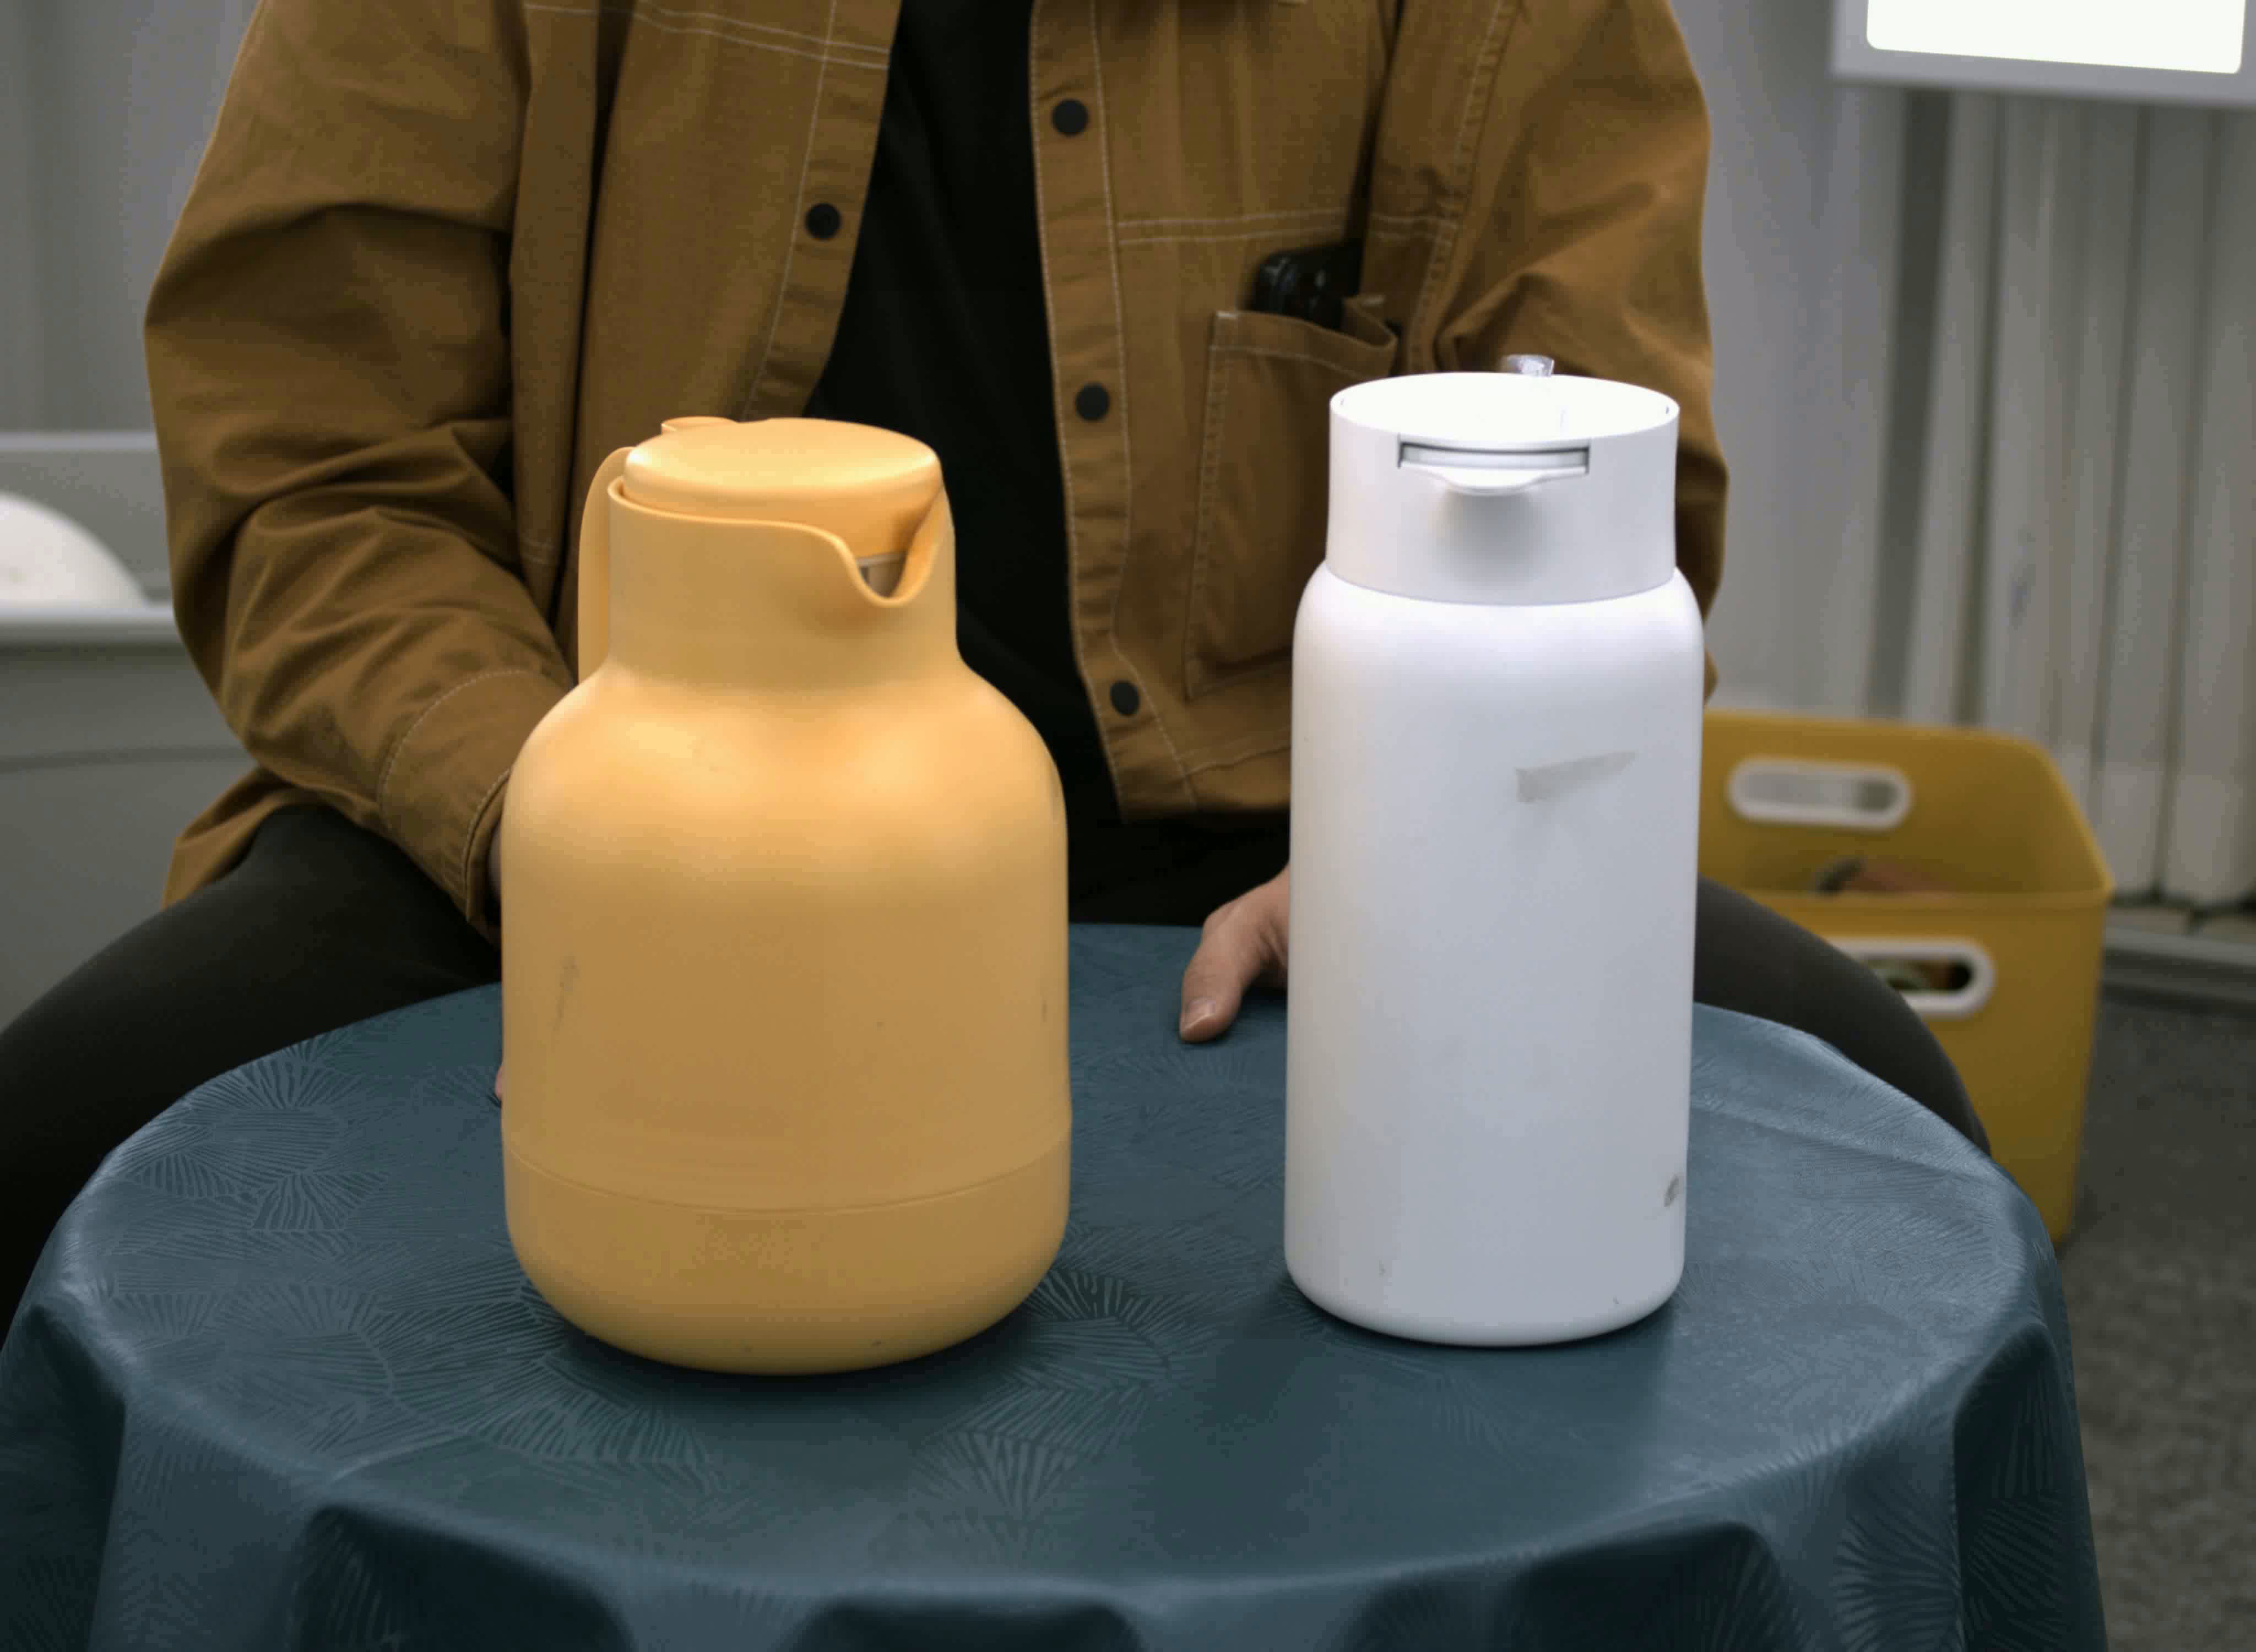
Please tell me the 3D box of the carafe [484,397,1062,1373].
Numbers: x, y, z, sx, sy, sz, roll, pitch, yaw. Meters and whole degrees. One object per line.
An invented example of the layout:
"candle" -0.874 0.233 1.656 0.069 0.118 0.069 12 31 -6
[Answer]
"carafe" -0.106 0.008 1.500 0.164 0.262 0.200 -4 18 -26

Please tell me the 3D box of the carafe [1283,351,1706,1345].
"carafe" 0.105 0.002 1.522 0.123 0.271 0.172 0 16 7
